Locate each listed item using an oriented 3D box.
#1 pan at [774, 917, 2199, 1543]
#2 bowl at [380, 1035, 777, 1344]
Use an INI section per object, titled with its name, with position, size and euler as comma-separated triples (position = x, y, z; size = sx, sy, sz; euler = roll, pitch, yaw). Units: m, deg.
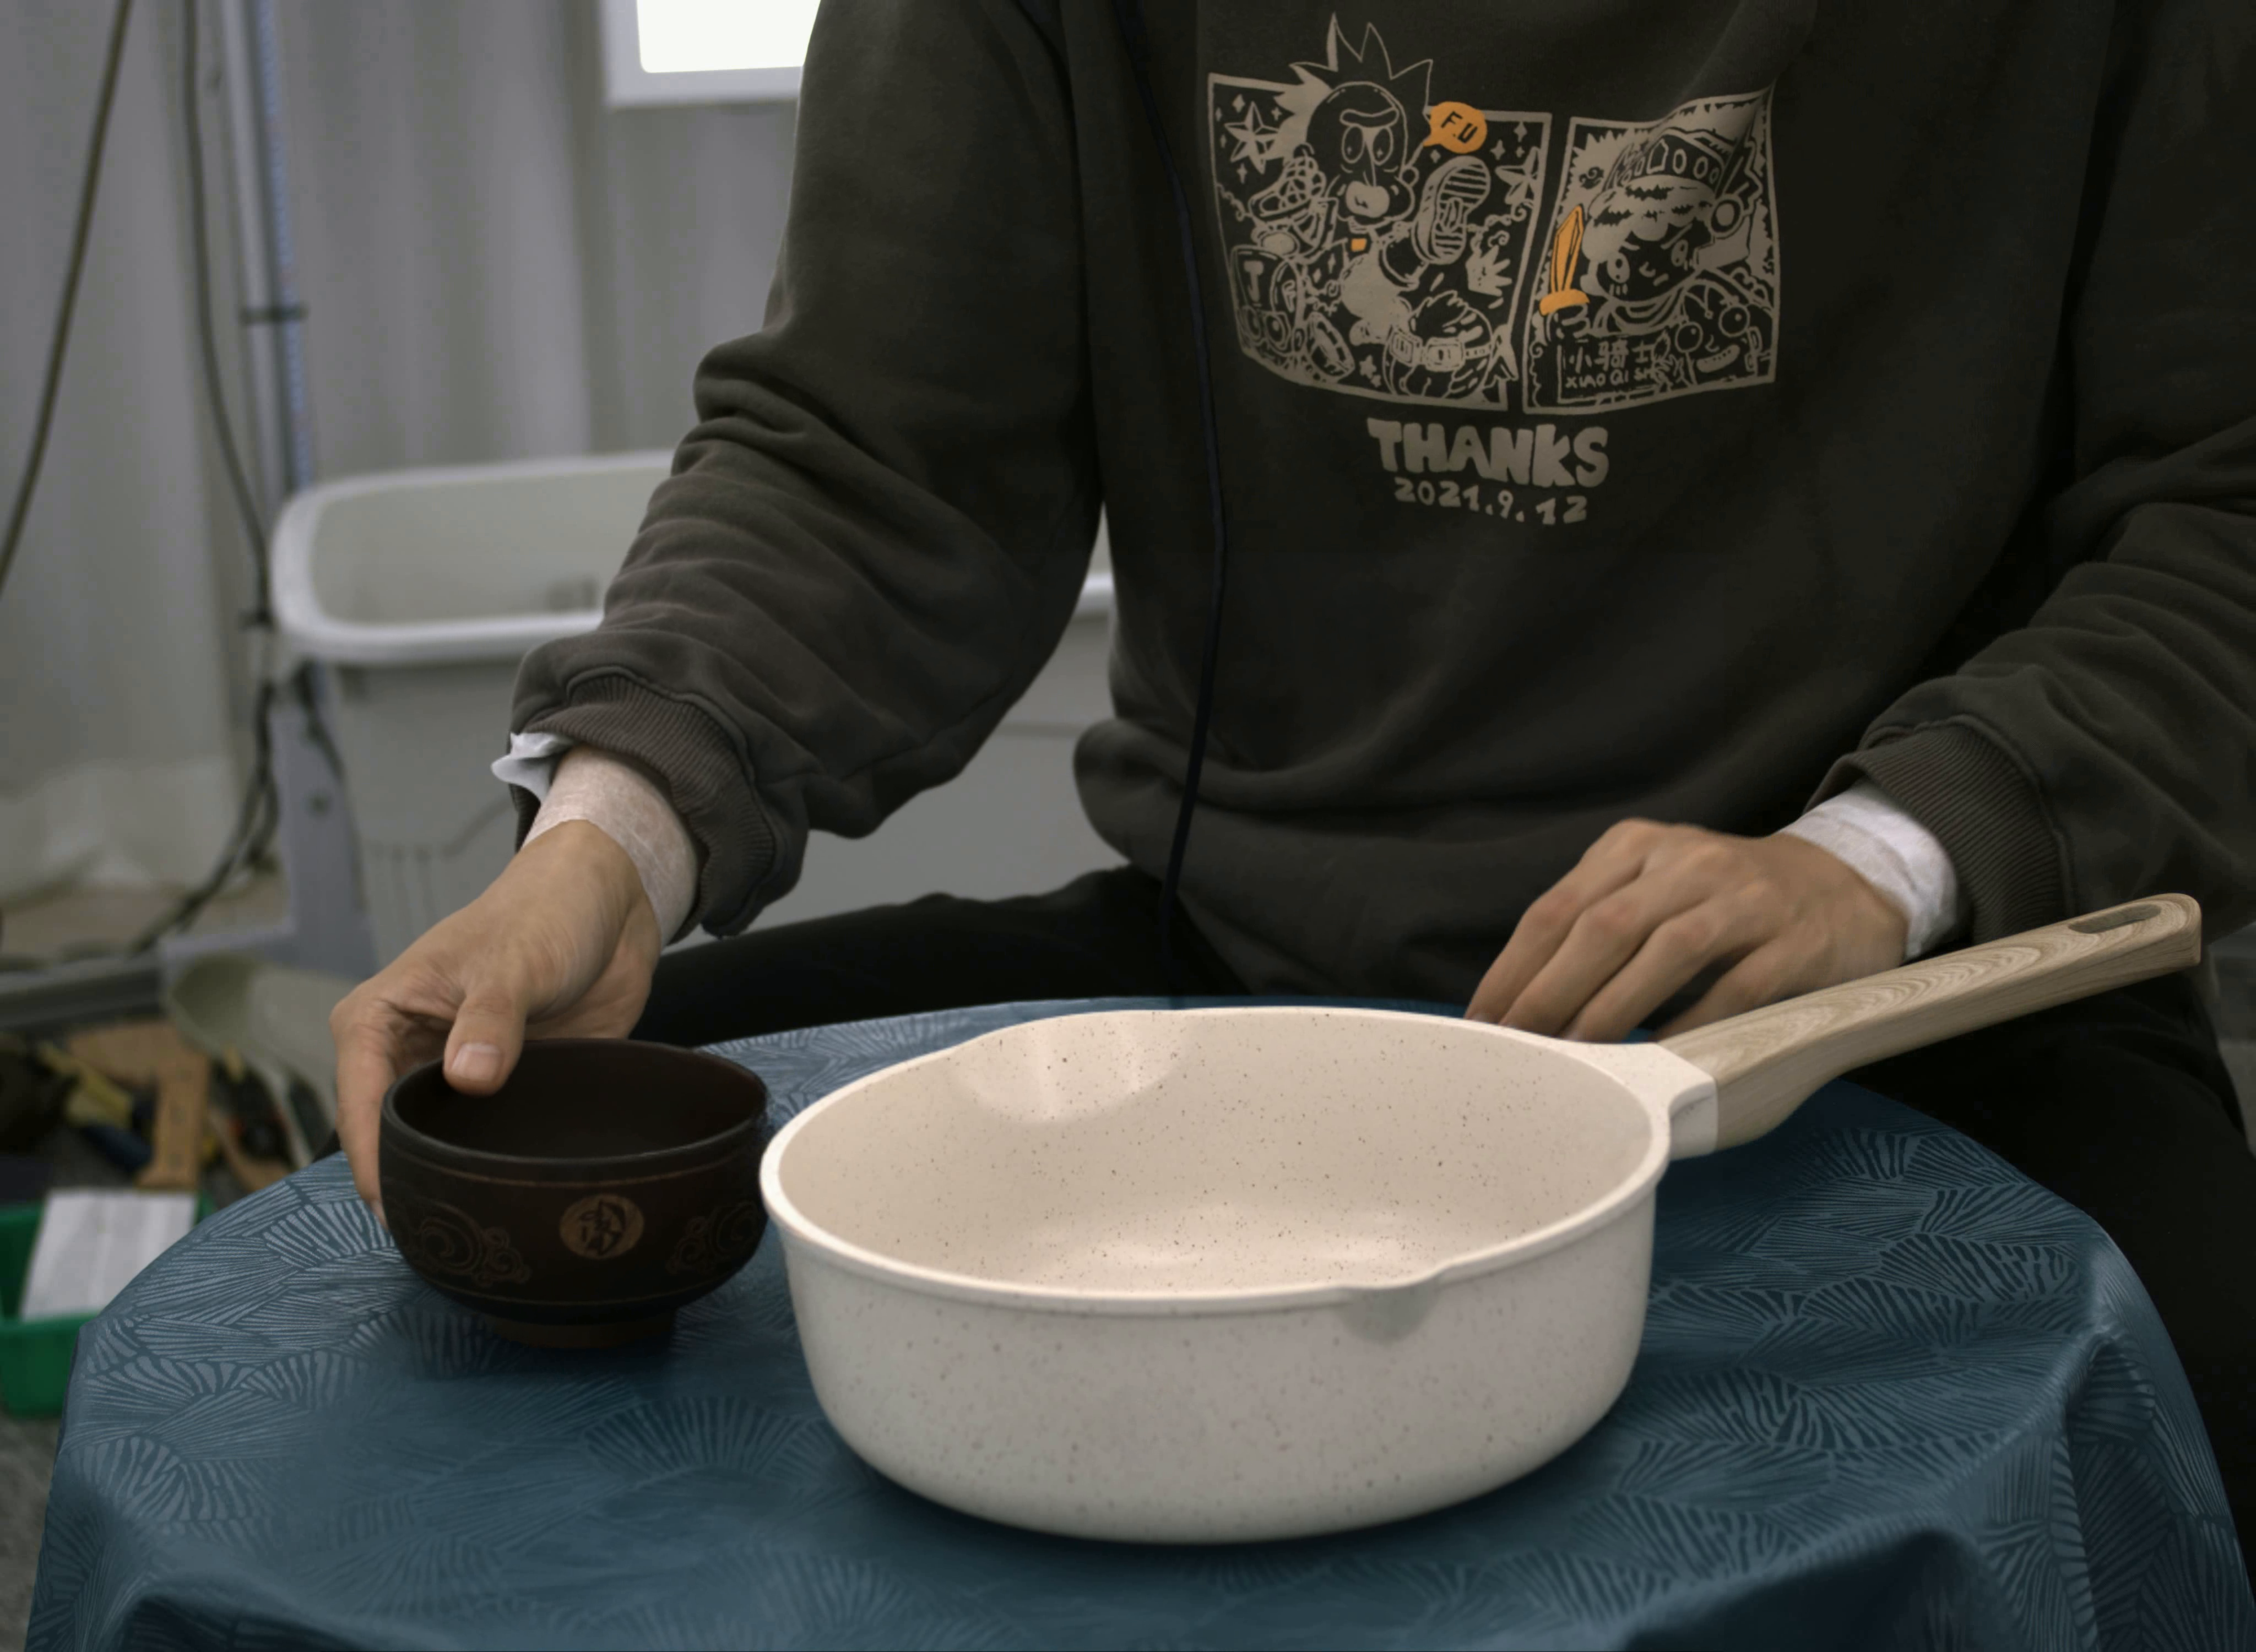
[pan]
position = 0.114, 0.107, 1.541
size = 0.433, 0.101, 0.265
euler = -8, 14, -20
[bowl]
position = -0.162, 0.112, 1.621
size = 0.117, 0.069, 0.119
euler = 1, 14, 0
